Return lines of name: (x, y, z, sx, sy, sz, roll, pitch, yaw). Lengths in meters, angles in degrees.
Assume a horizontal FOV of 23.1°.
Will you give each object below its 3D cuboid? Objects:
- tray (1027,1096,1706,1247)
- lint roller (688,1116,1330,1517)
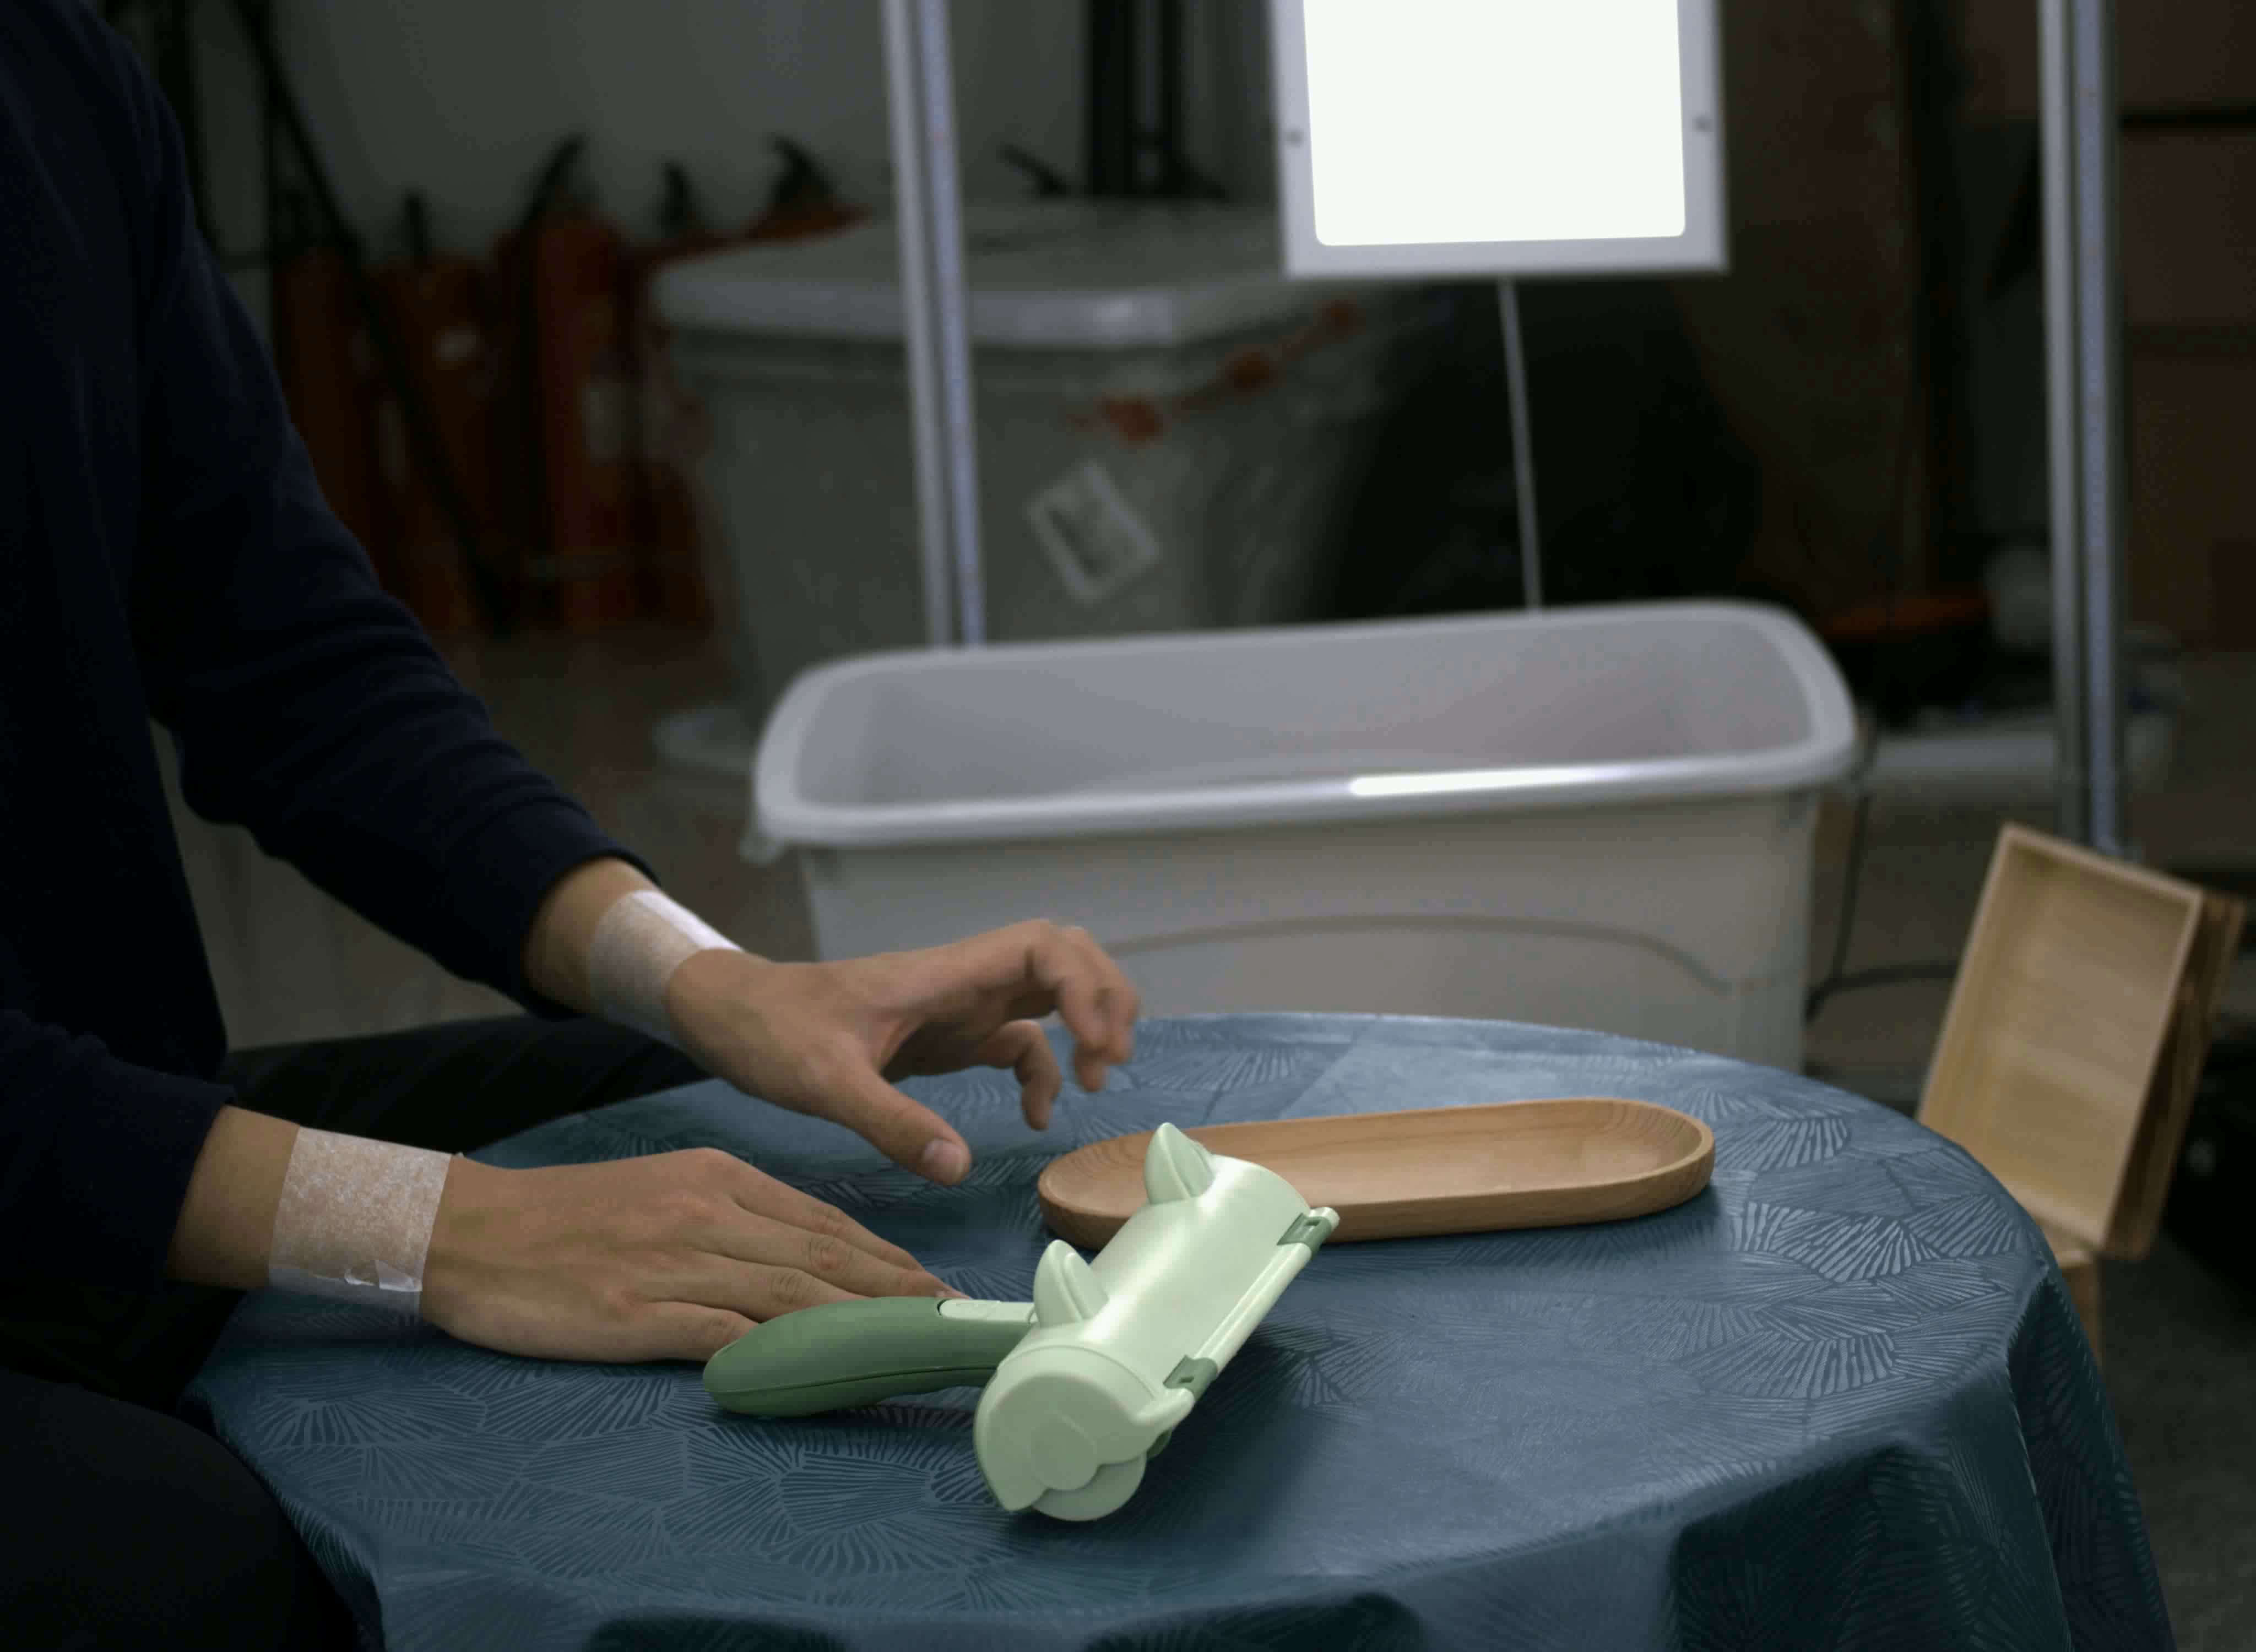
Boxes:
tray: (0.081, 0.119, 1.862, 0.231, 0.020, 0.101, -6, 13, 2)
lint roller: (-0.047, 0.140, 1.678, 0.185, 0.082, 0.195, 5, 15, 16)
